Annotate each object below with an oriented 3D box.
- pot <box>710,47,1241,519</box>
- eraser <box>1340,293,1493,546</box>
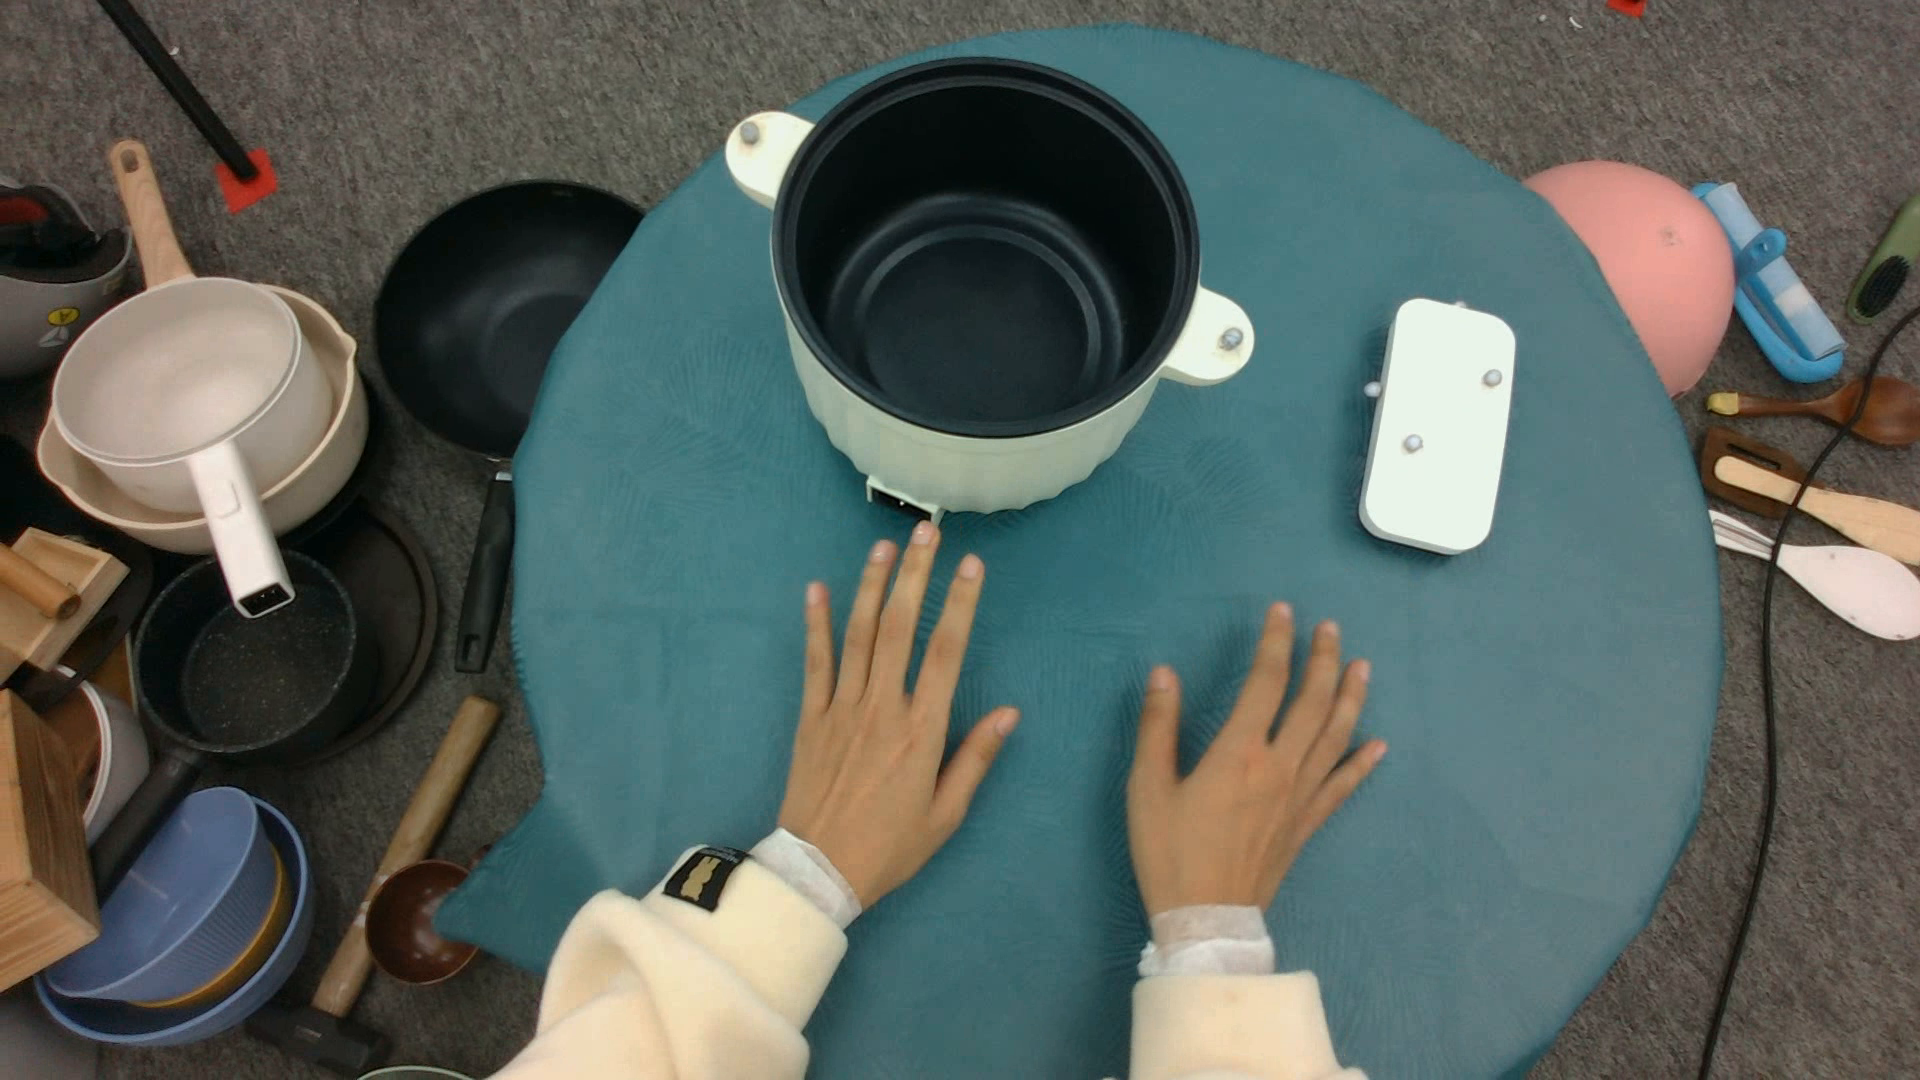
[{"bbox_3d":[0.004,-0.117,0.643,0.240,0.142,0.191,23,75,3],"label":"pot"},{"bbox_3d":[0.230,-0.063,0.697,0.063,0.034,0.132,14,71,2],"label":"eraser"}]
